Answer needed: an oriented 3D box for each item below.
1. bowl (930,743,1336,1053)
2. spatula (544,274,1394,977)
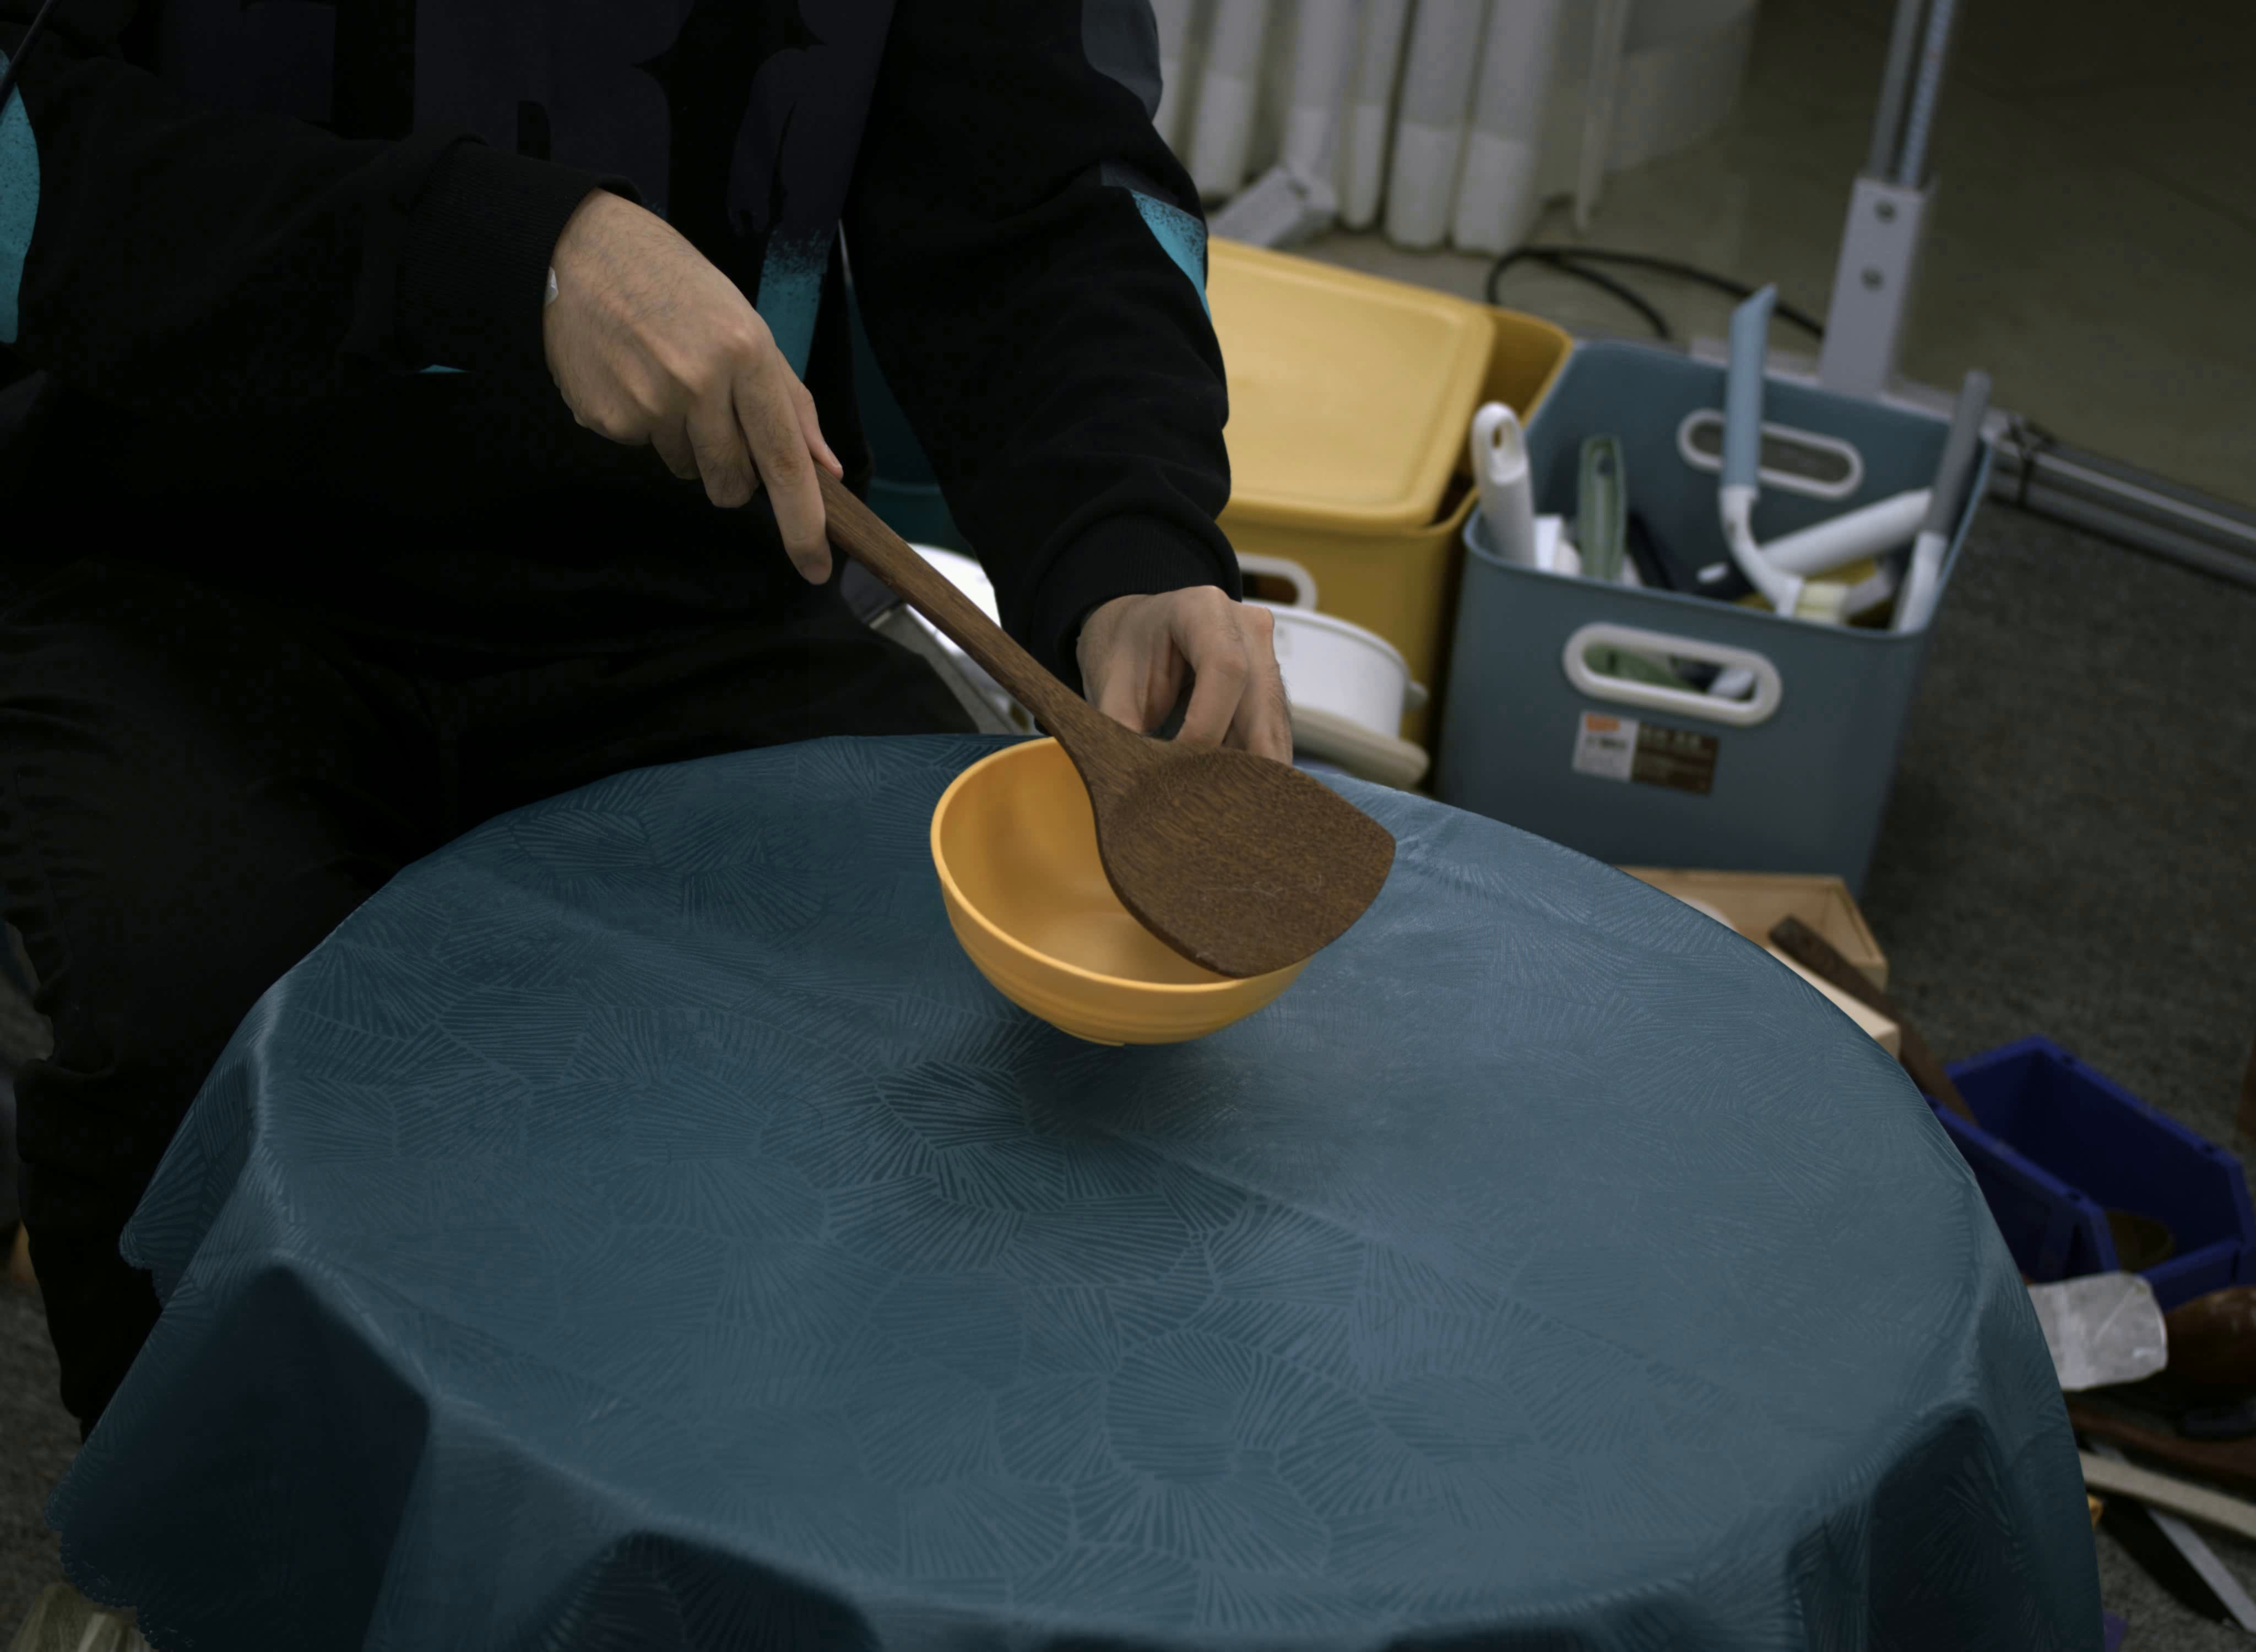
[{"bbox_3d":[-0.004,0.036,1.856,0.145,0.060,0.146,9,33,-7],"label":"bowl"},{"bbox_3d":[-0.069,-0.081,1.877,0.388,0.016,0.096,40,54,17],"label":"spatula"}]
